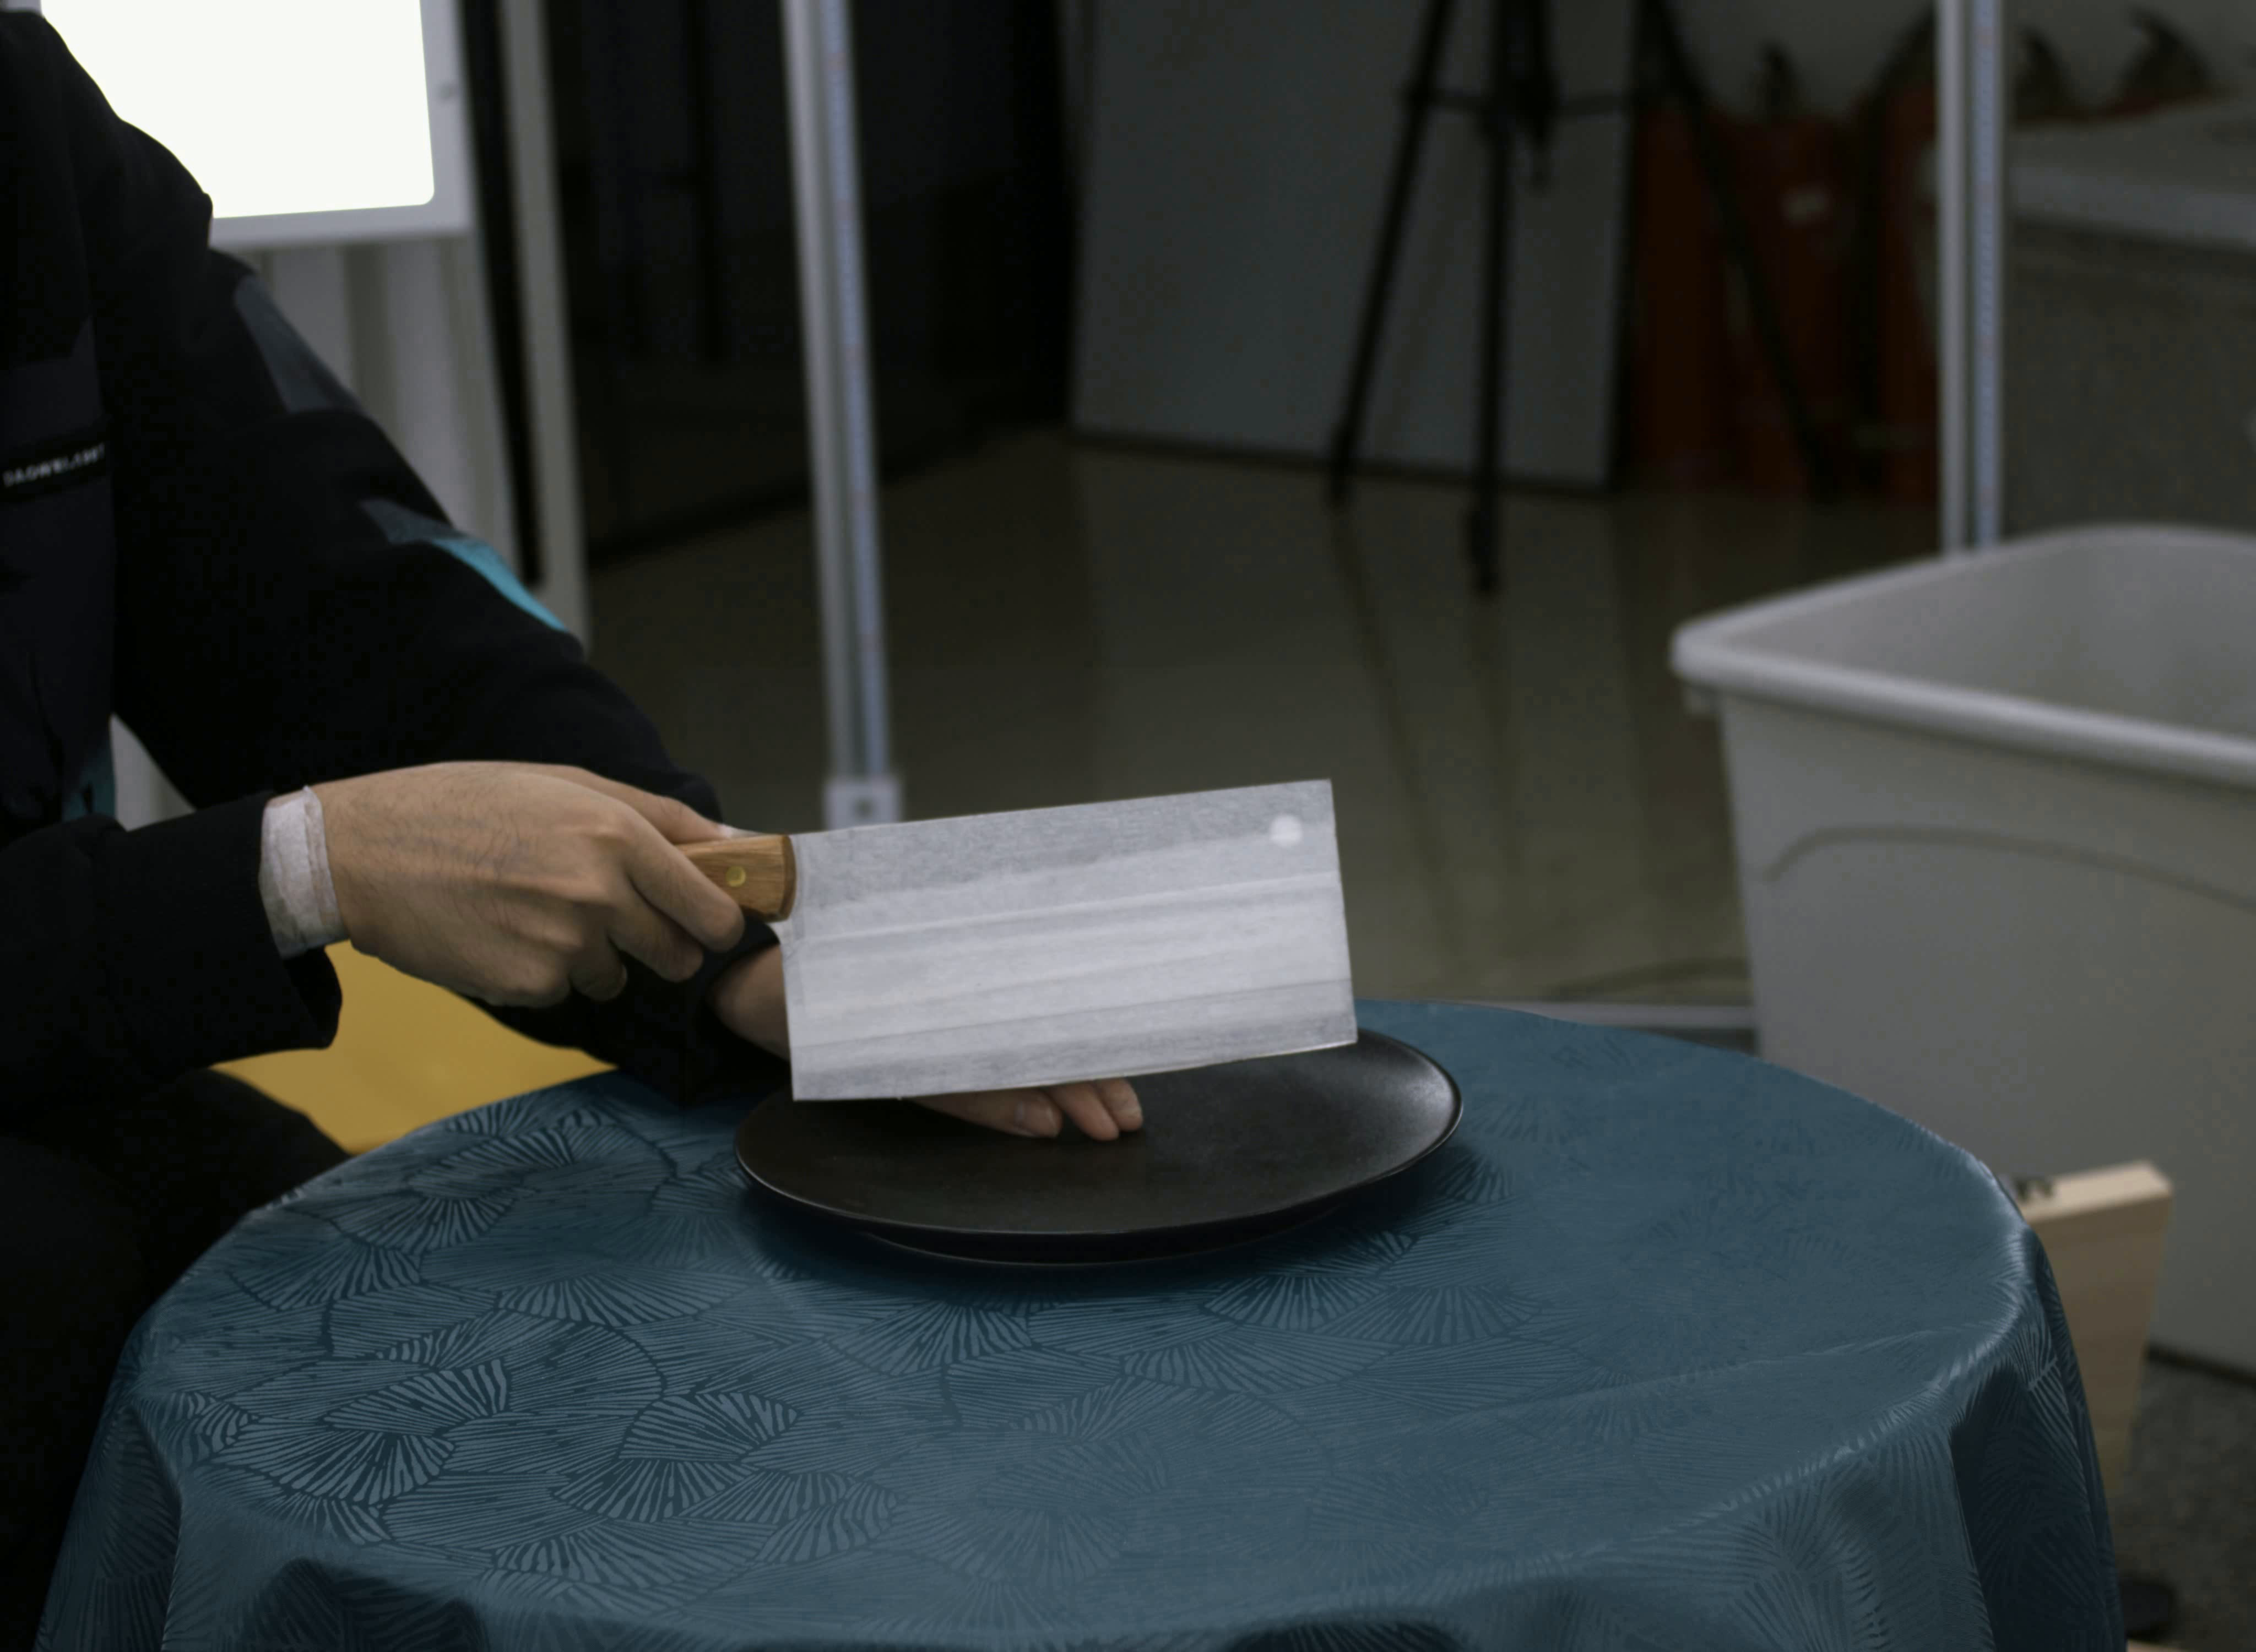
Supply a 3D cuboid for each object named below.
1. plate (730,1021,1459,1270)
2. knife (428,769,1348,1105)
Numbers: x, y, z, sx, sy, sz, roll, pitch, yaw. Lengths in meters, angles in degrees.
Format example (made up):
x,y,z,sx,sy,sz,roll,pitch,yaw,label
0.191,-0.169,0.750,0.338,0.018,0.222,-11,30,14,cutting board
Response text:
x,y,z,sx,sy,sz,roll,pitch,yaw,label
-0.010,0.107,1.781,0.241,0.024,0.245,-4,14,0,plate
-0.079,0.042,1.787,0.302,0.094,0.021,-7,-1,4,knife
